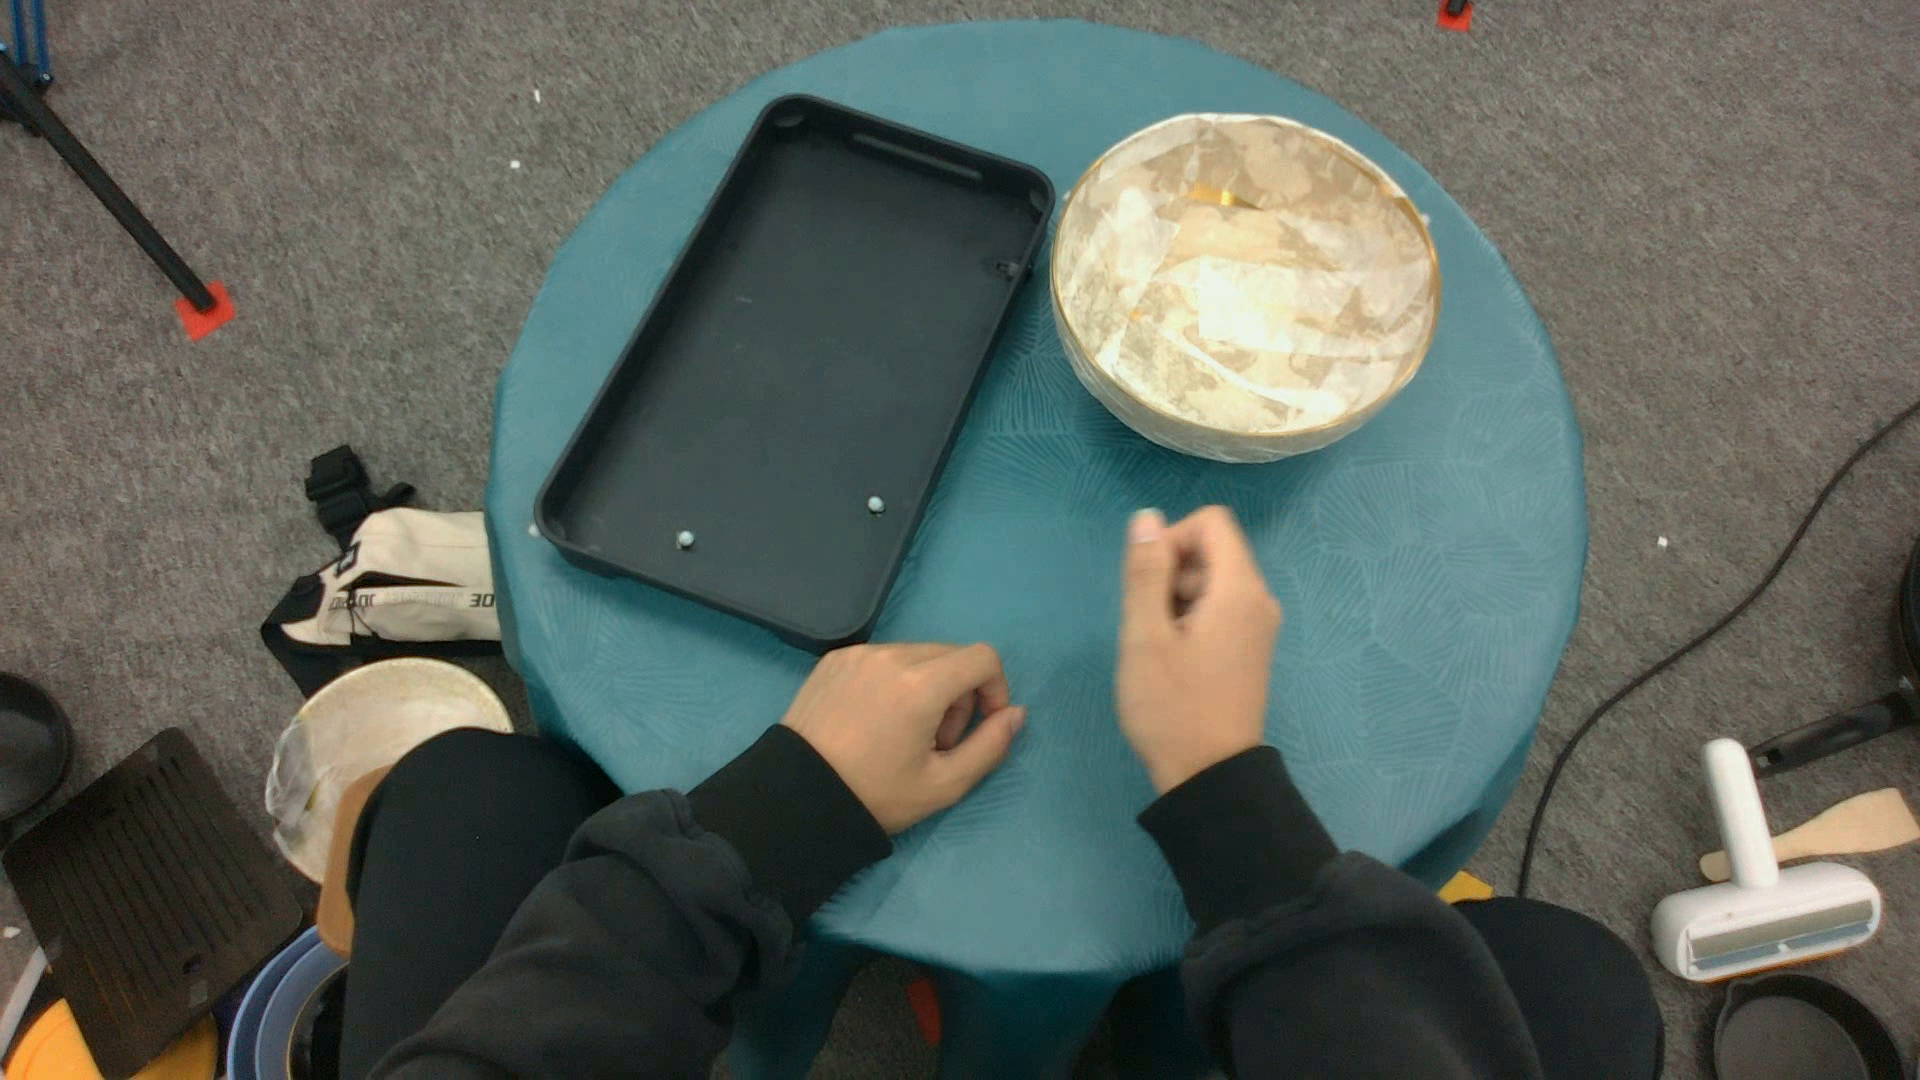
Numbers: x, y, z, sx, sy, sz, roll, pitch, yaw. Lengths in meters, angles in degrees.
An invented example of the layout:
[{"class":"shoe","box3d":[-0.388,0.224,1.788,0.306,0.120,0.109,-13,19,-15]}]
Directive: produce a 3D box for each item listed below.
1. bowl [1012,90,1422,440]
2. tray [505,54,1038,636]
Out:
[{"class":"bowl","box3d":[0.129,-0.132,0.743,0.215,0.094,0.215,2,66,-3]},{"class":"tray","box3d":[-0.093,-0.116,0.750,0.184,0.037,0.319,21,68,5]}]
